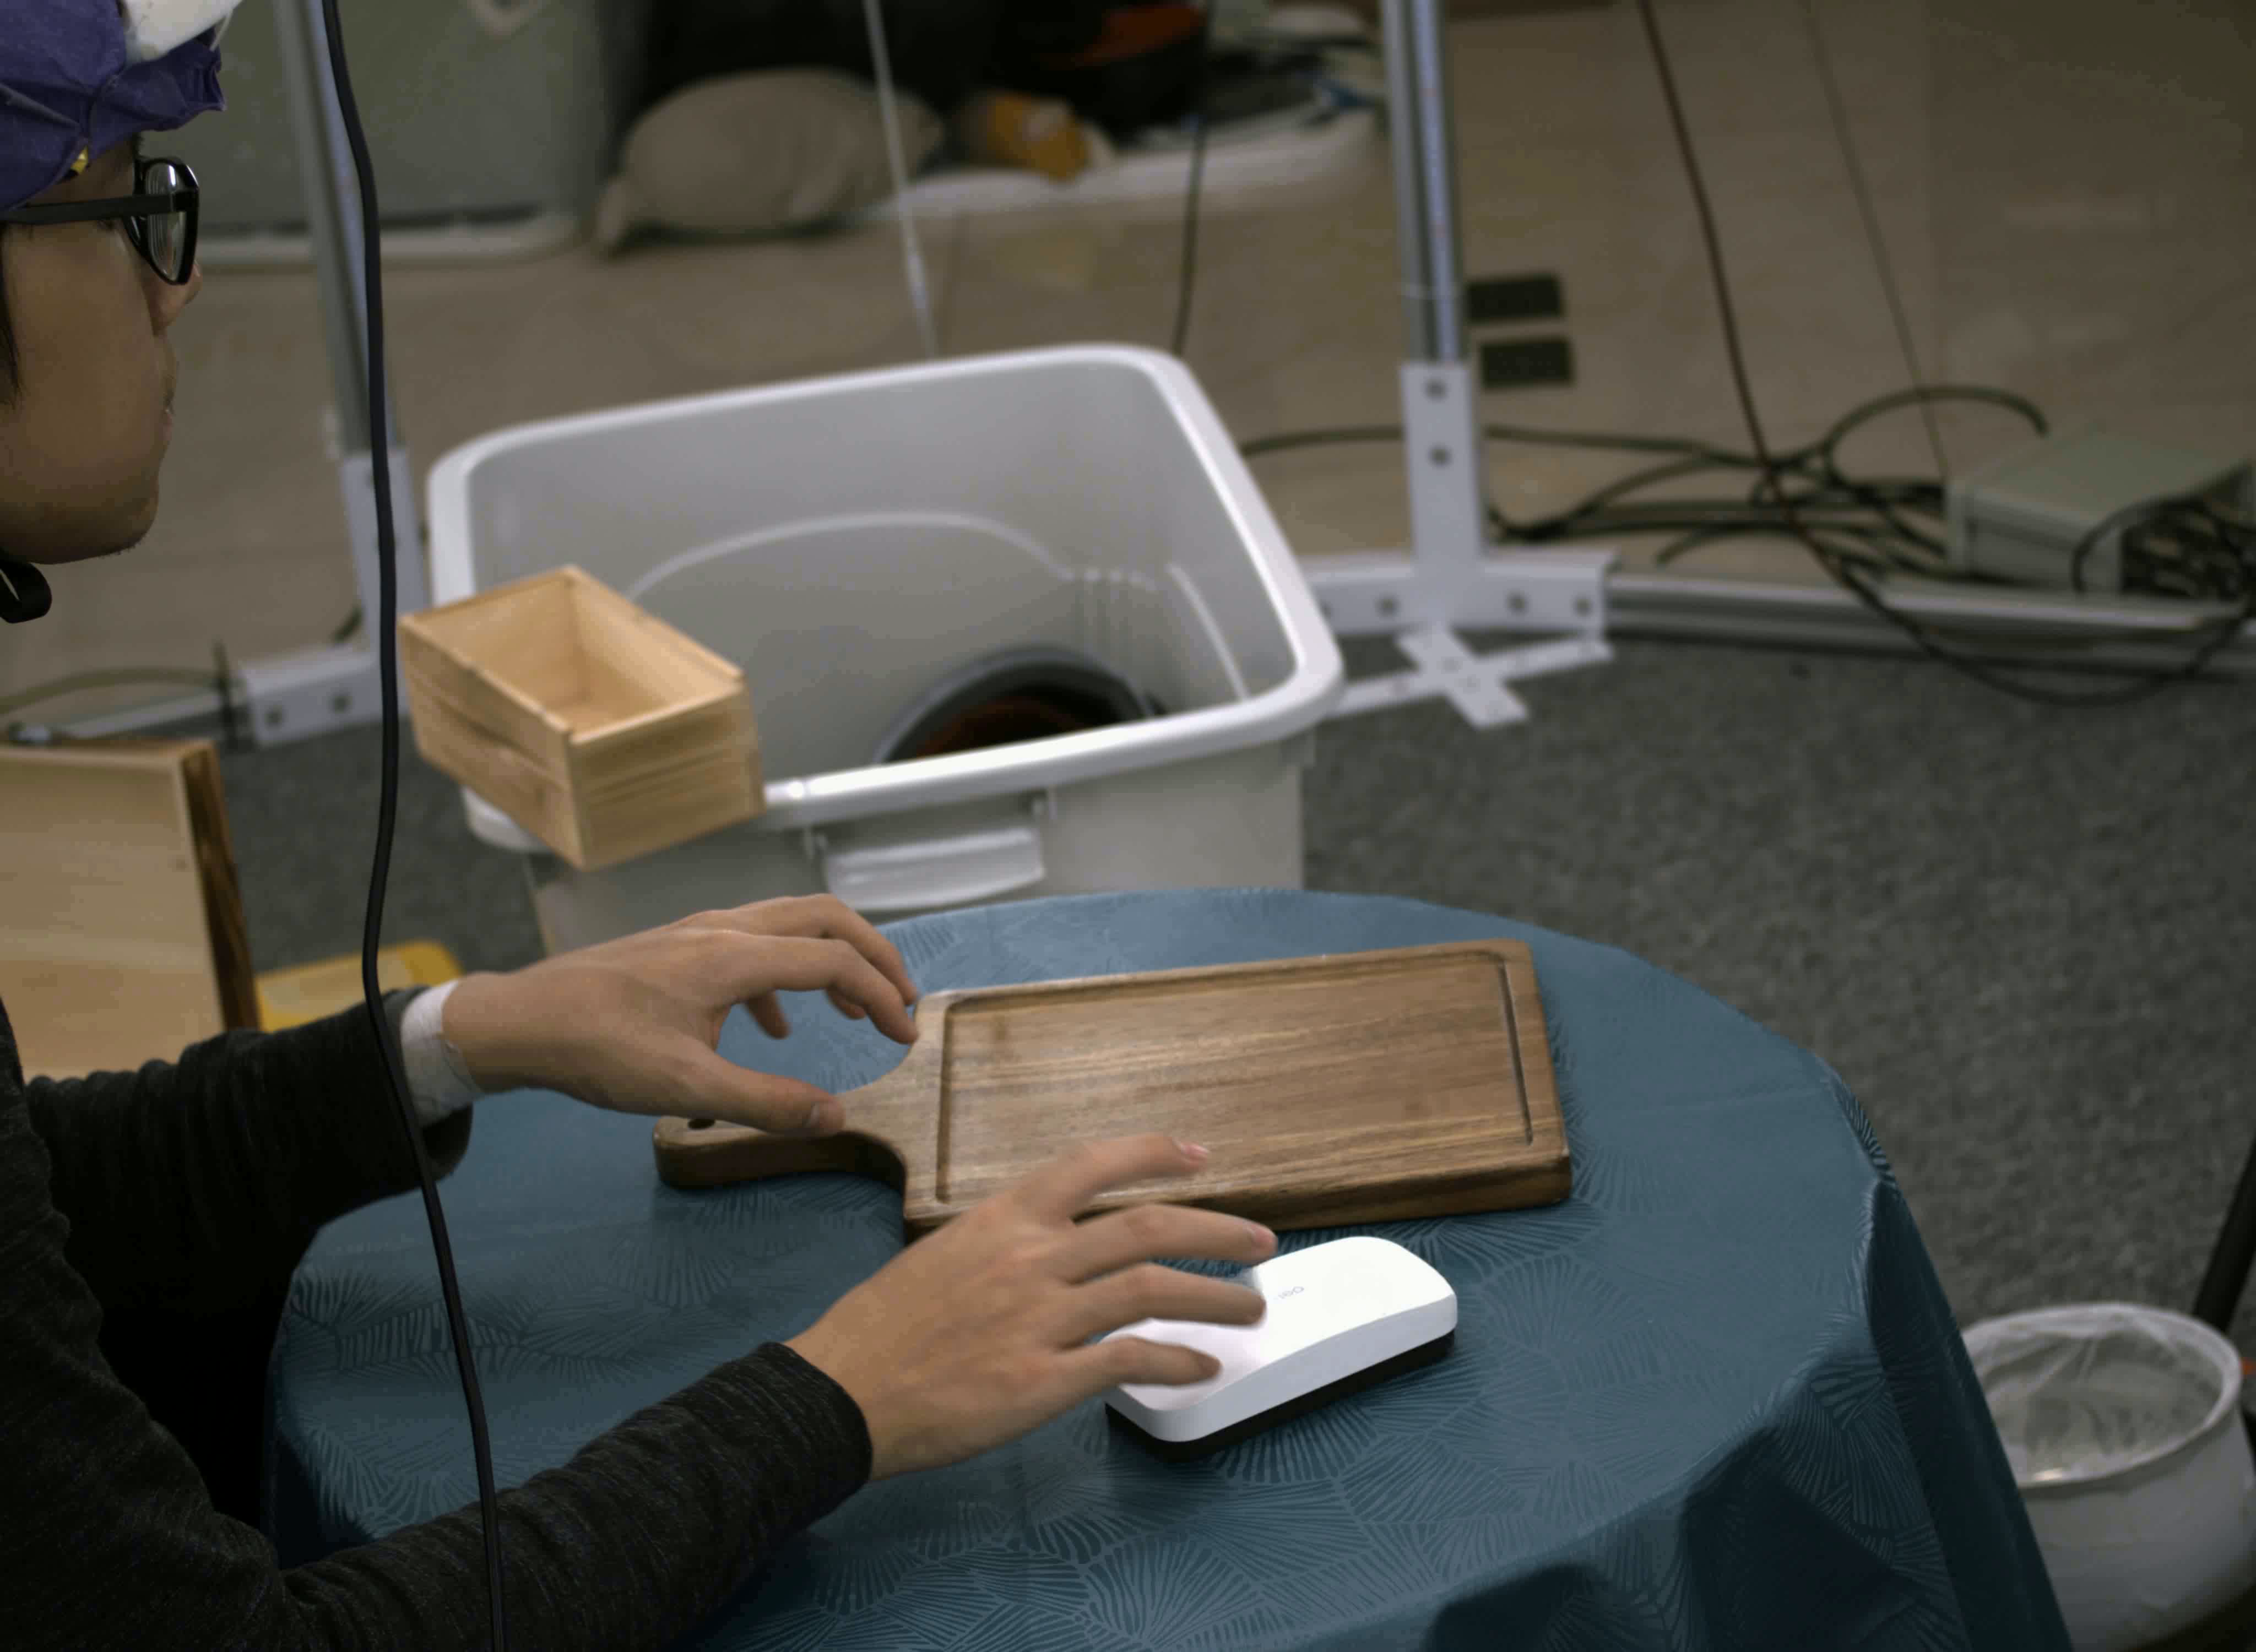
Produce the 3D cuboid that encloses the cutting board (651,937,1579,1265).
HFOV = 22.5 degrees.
[{"bbox_3d":[-0.009,0.108,2.191,0.351,0.023,0.198,-6,25,2],"label":"cutting board"}]

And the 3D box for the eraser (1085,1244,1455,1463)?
[{"bbox_3d":[0.050,0.183,2.006,0.130,0.035,0.062,-18,29,-26],"label":"eraser"}]
